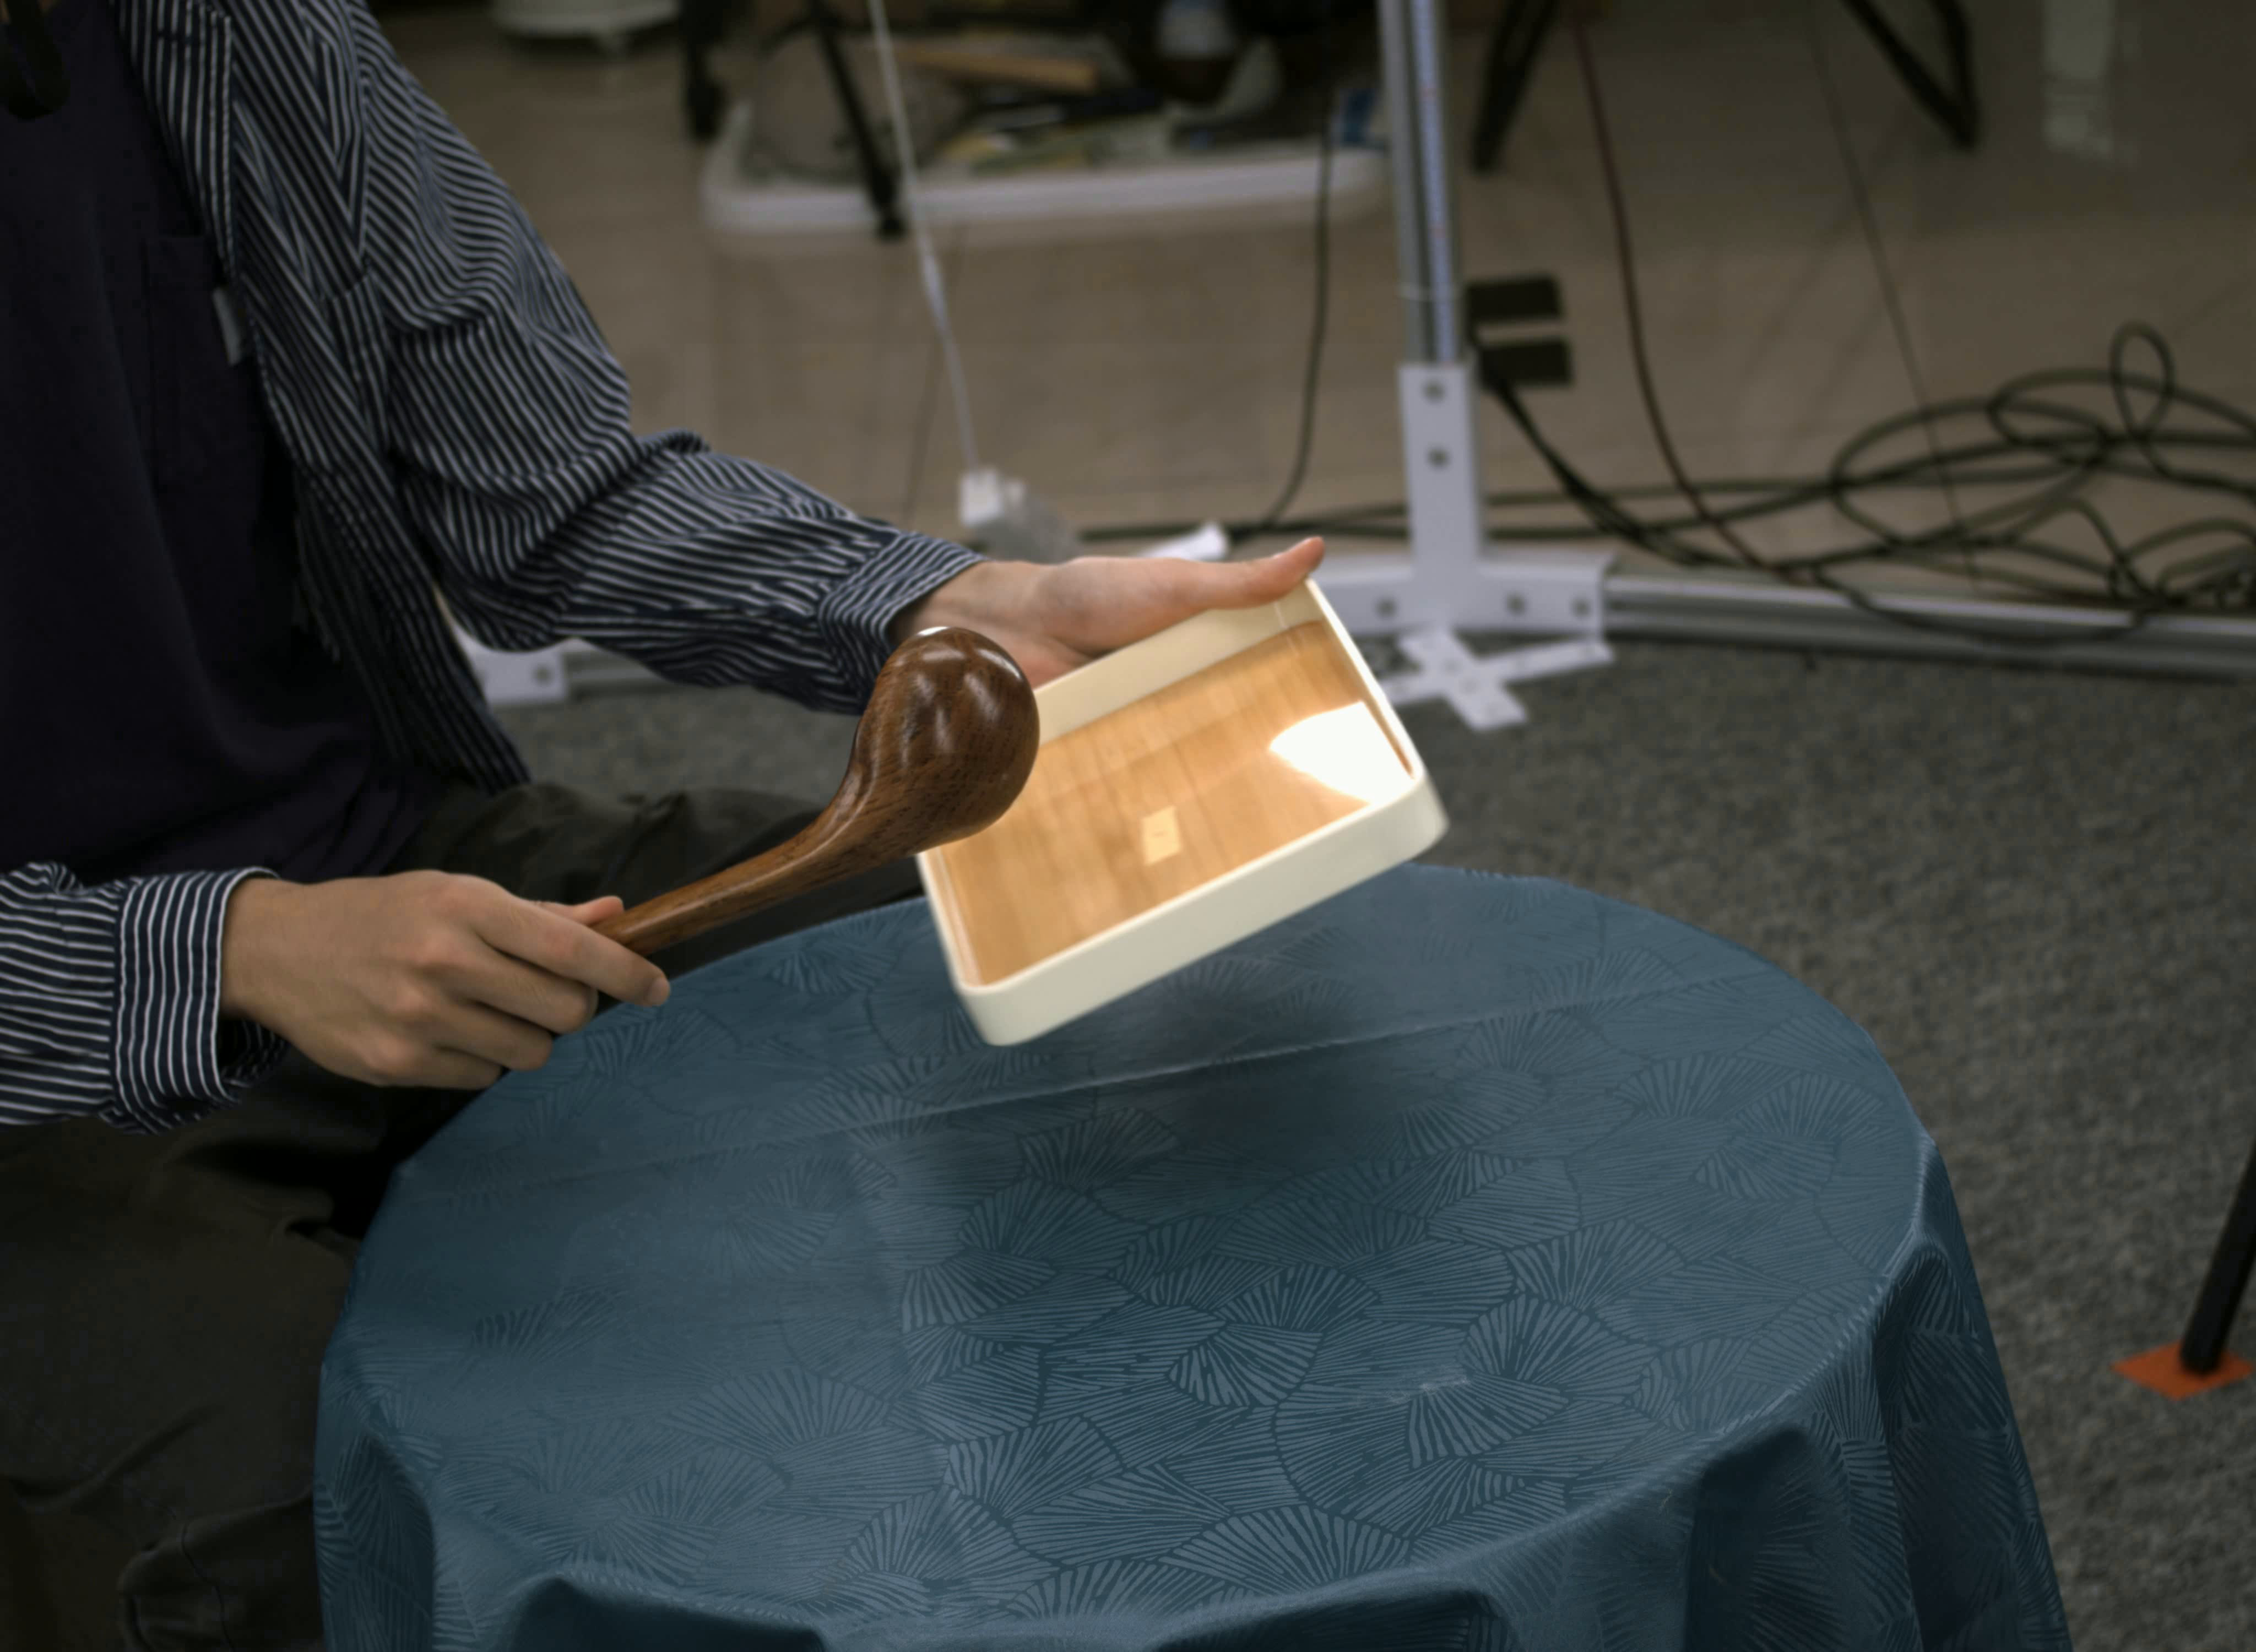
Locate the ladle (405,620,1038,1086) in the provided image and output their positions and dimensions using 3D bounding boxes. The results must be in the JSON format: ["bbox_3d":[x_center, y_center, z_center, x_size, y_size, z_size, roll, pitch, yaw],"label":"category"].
[{"bbox_3d":[-0.156,0.009,2.100,0.275,0.083,0.075,-26,38,22],"label":"ladle"}]

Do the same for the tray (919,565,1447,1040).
[{"bbox_3d":[0.012,-0.014,2.208,0.191,0.028,0.296,-26,20,2],"label":"tray"}]
